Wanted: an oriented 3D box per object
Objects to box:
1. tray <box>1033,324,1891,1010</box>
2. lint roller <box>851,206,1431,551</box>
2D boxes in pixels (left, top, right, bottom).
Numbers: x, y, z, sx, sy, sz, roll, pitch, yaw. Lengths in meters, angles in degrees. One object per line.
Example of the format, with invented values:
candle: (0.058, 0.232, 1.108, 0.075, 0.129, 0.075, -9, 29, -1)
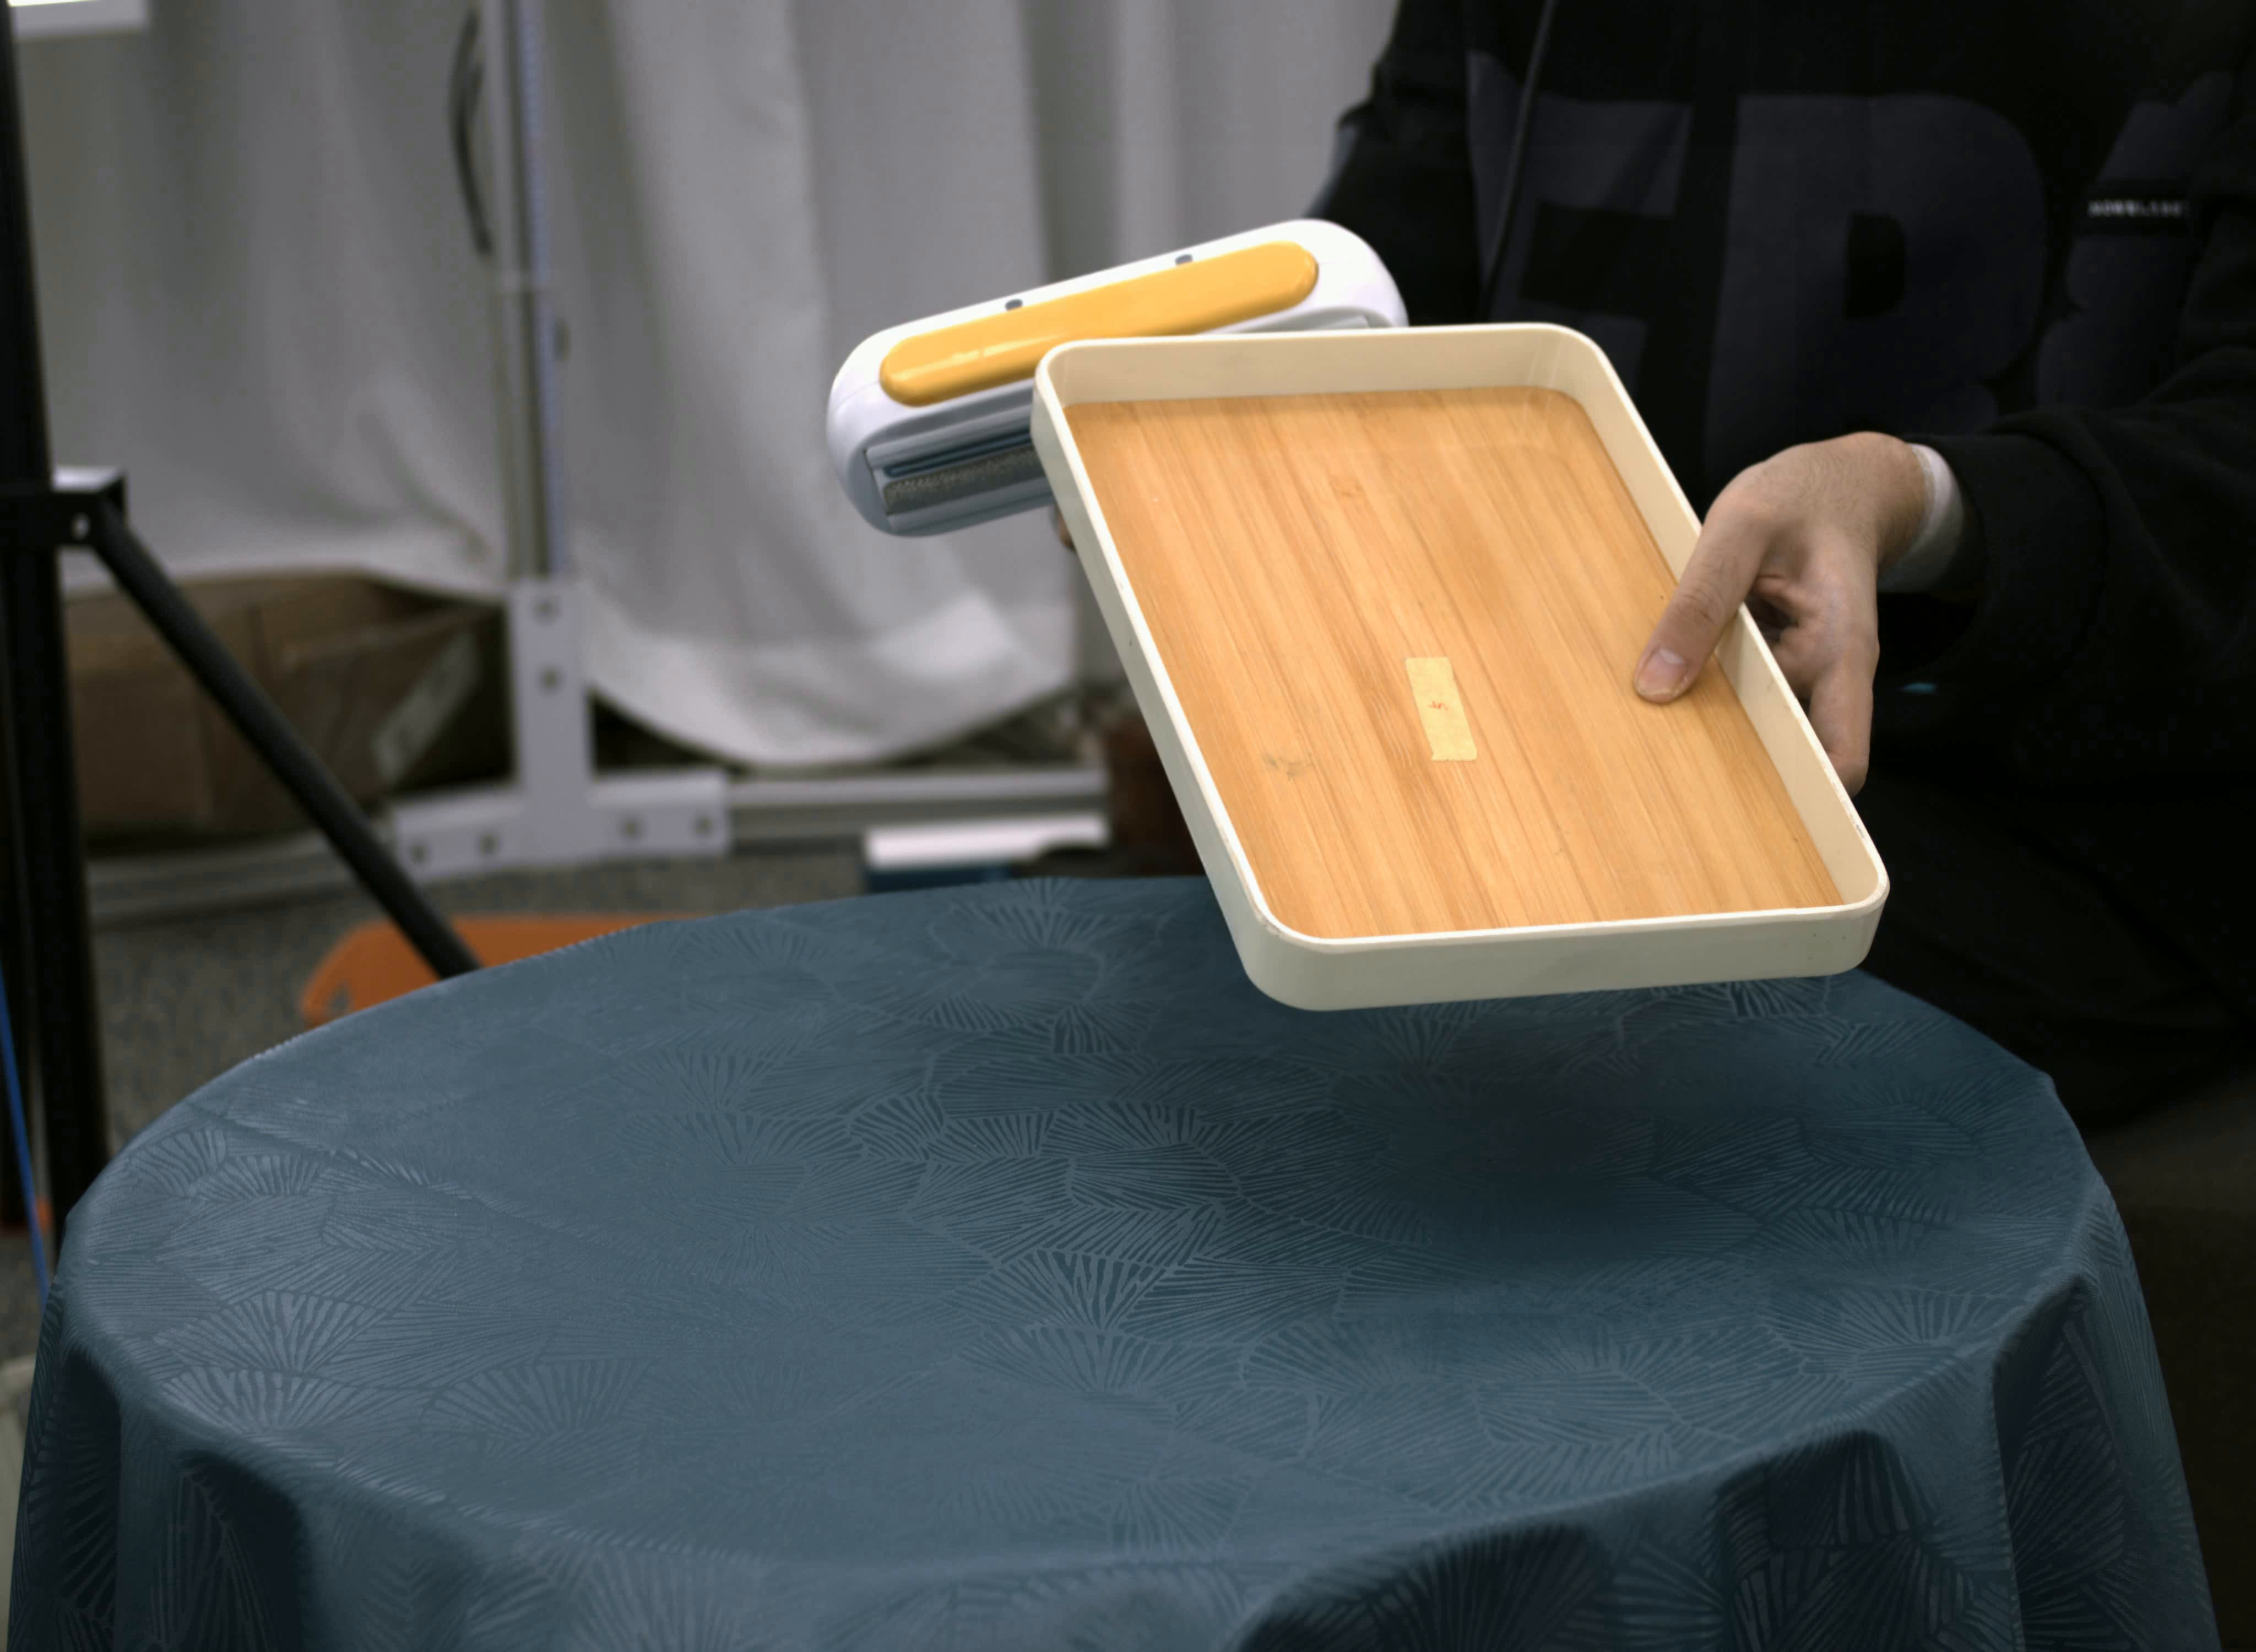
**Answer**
tray: (0.093, -0.054, 1.592, 0.188, 0.027, 0.305, -3, 39, -14)
lint roller: (0.008, -0.126, 1.800, 0.192, 0.190, 0.075, -16, 60, -1)
